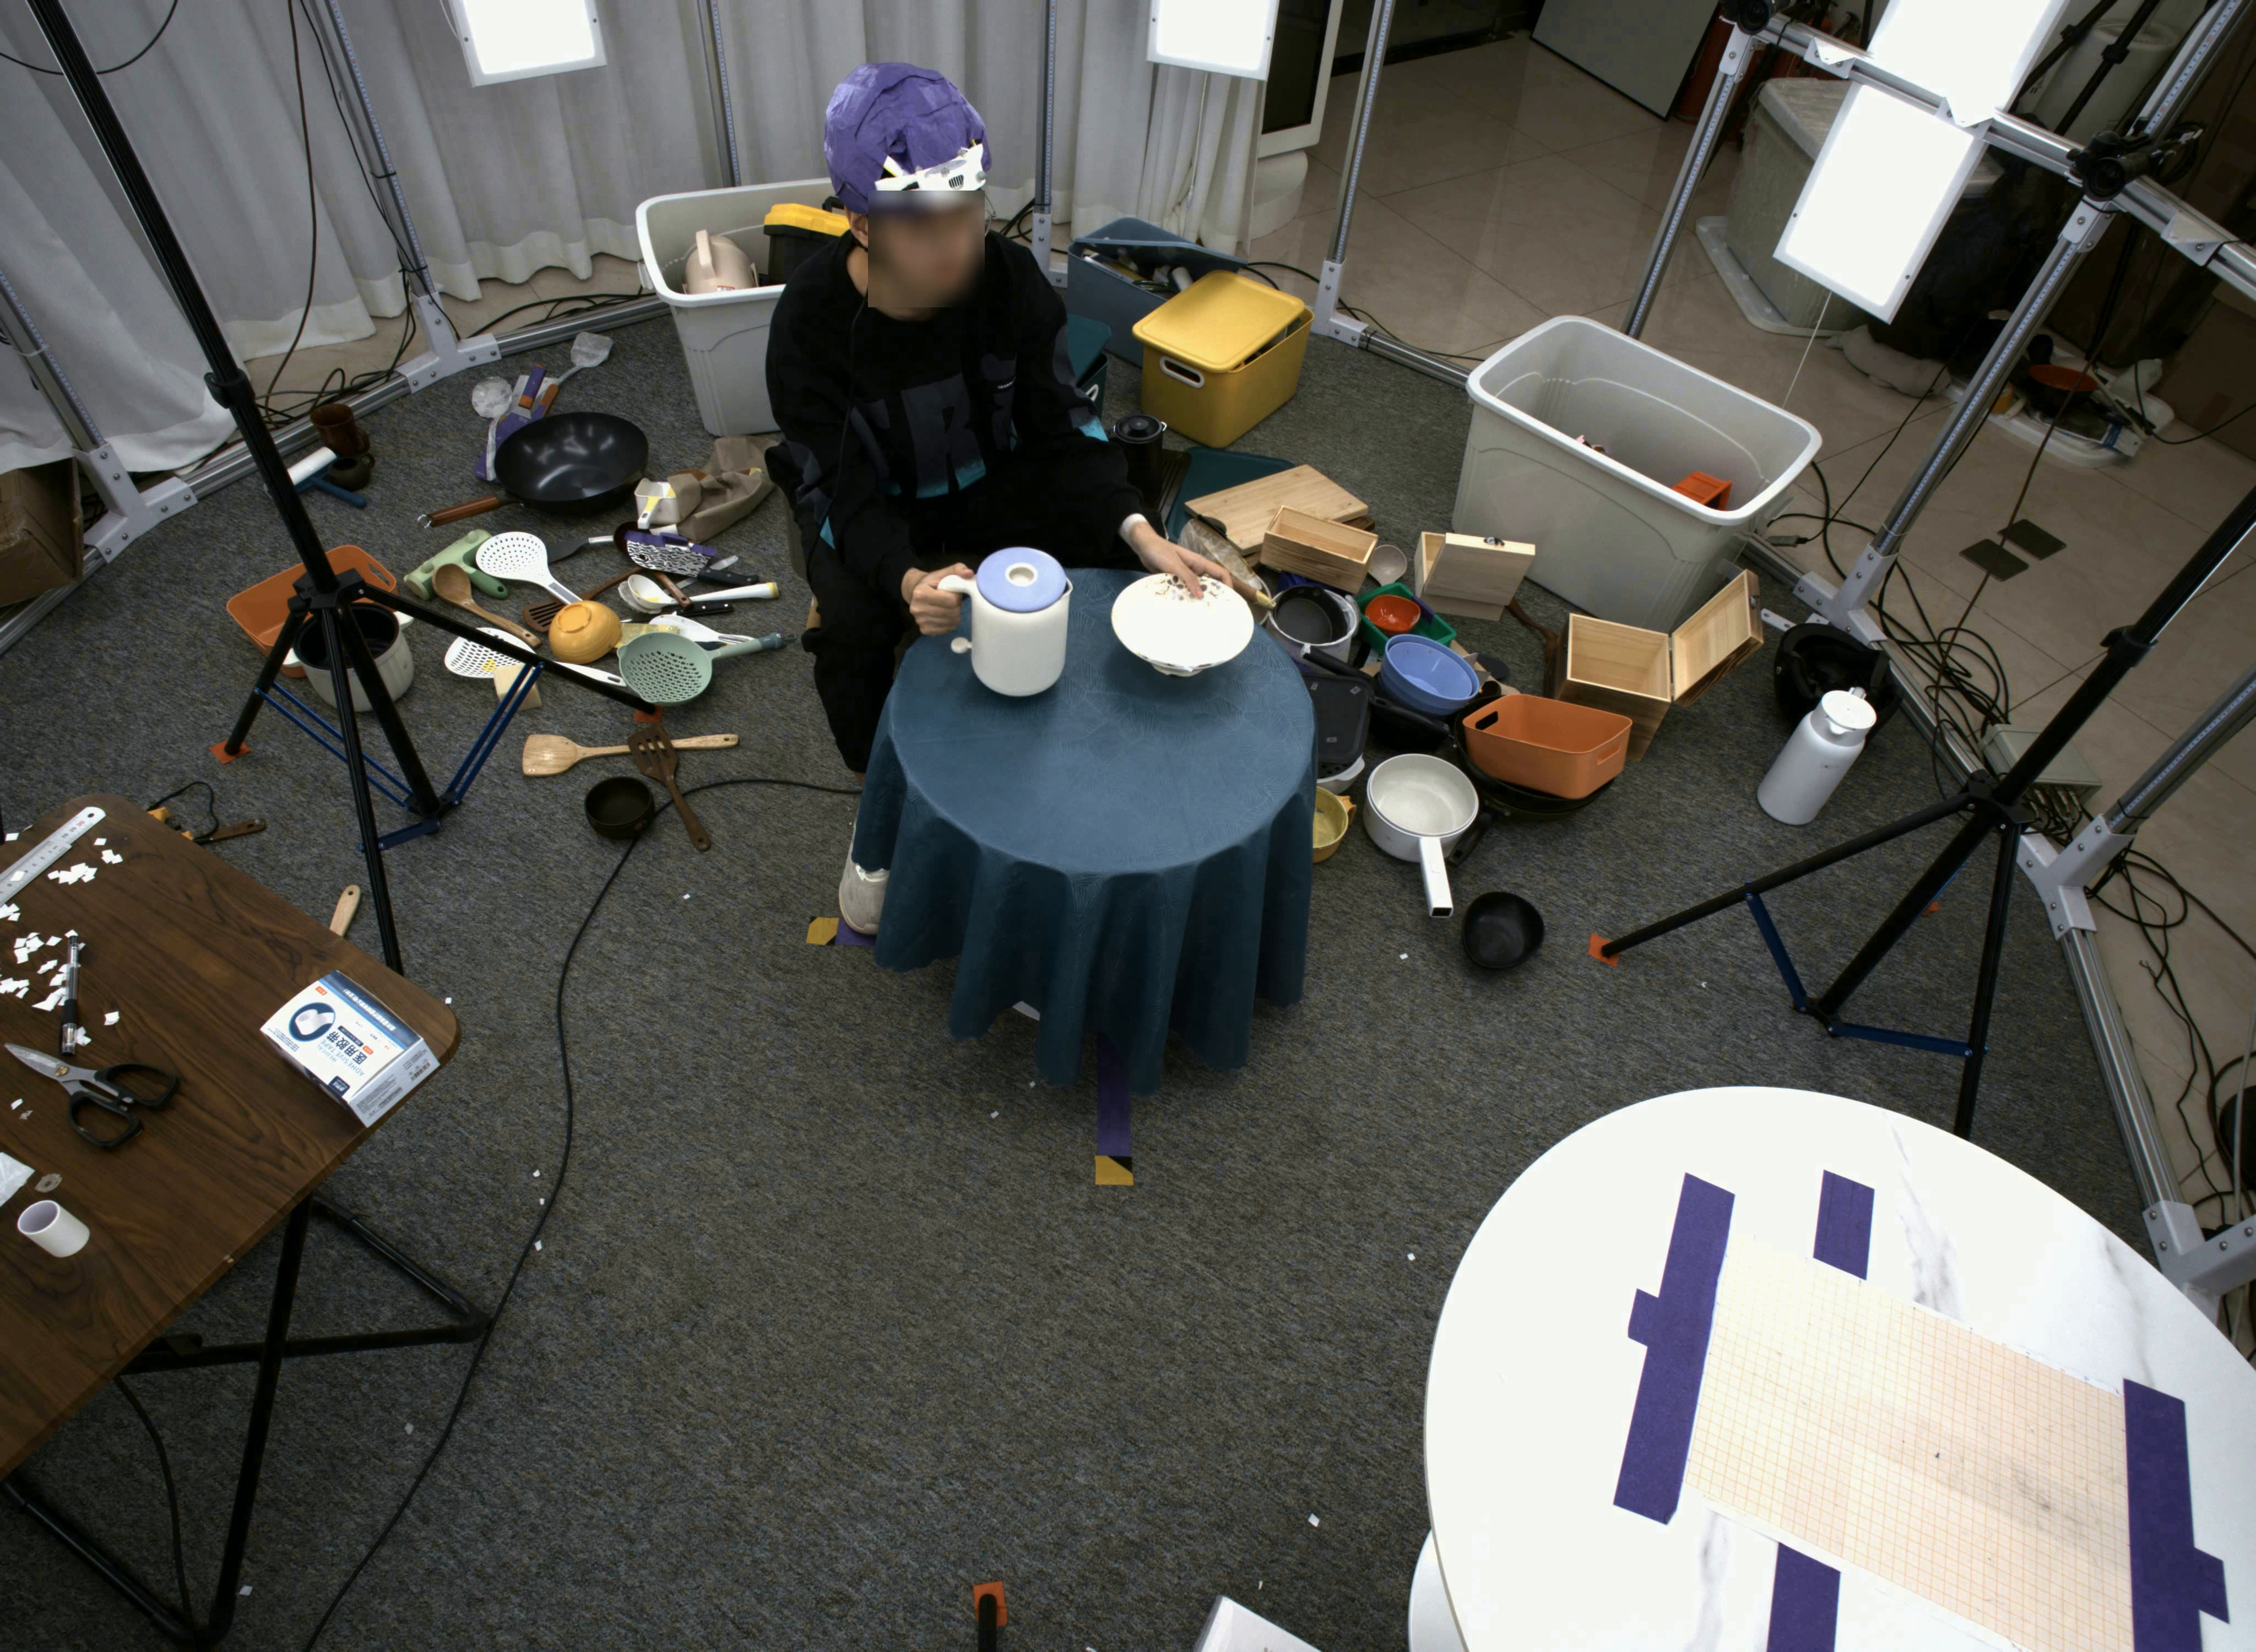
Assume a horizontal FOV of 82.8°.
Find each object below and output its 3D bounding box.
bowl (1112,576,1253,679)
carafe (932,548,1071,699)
[{"bbox_3d":[0.076,-0.270,1.858,0.204,0.076,0.209,2,47,-2],"label":"bowl"},{"bbox_3d":[-0.172,-0.278,1.755,0.191,0.178,0.135,6,52,2],"label":"carafe"}]
